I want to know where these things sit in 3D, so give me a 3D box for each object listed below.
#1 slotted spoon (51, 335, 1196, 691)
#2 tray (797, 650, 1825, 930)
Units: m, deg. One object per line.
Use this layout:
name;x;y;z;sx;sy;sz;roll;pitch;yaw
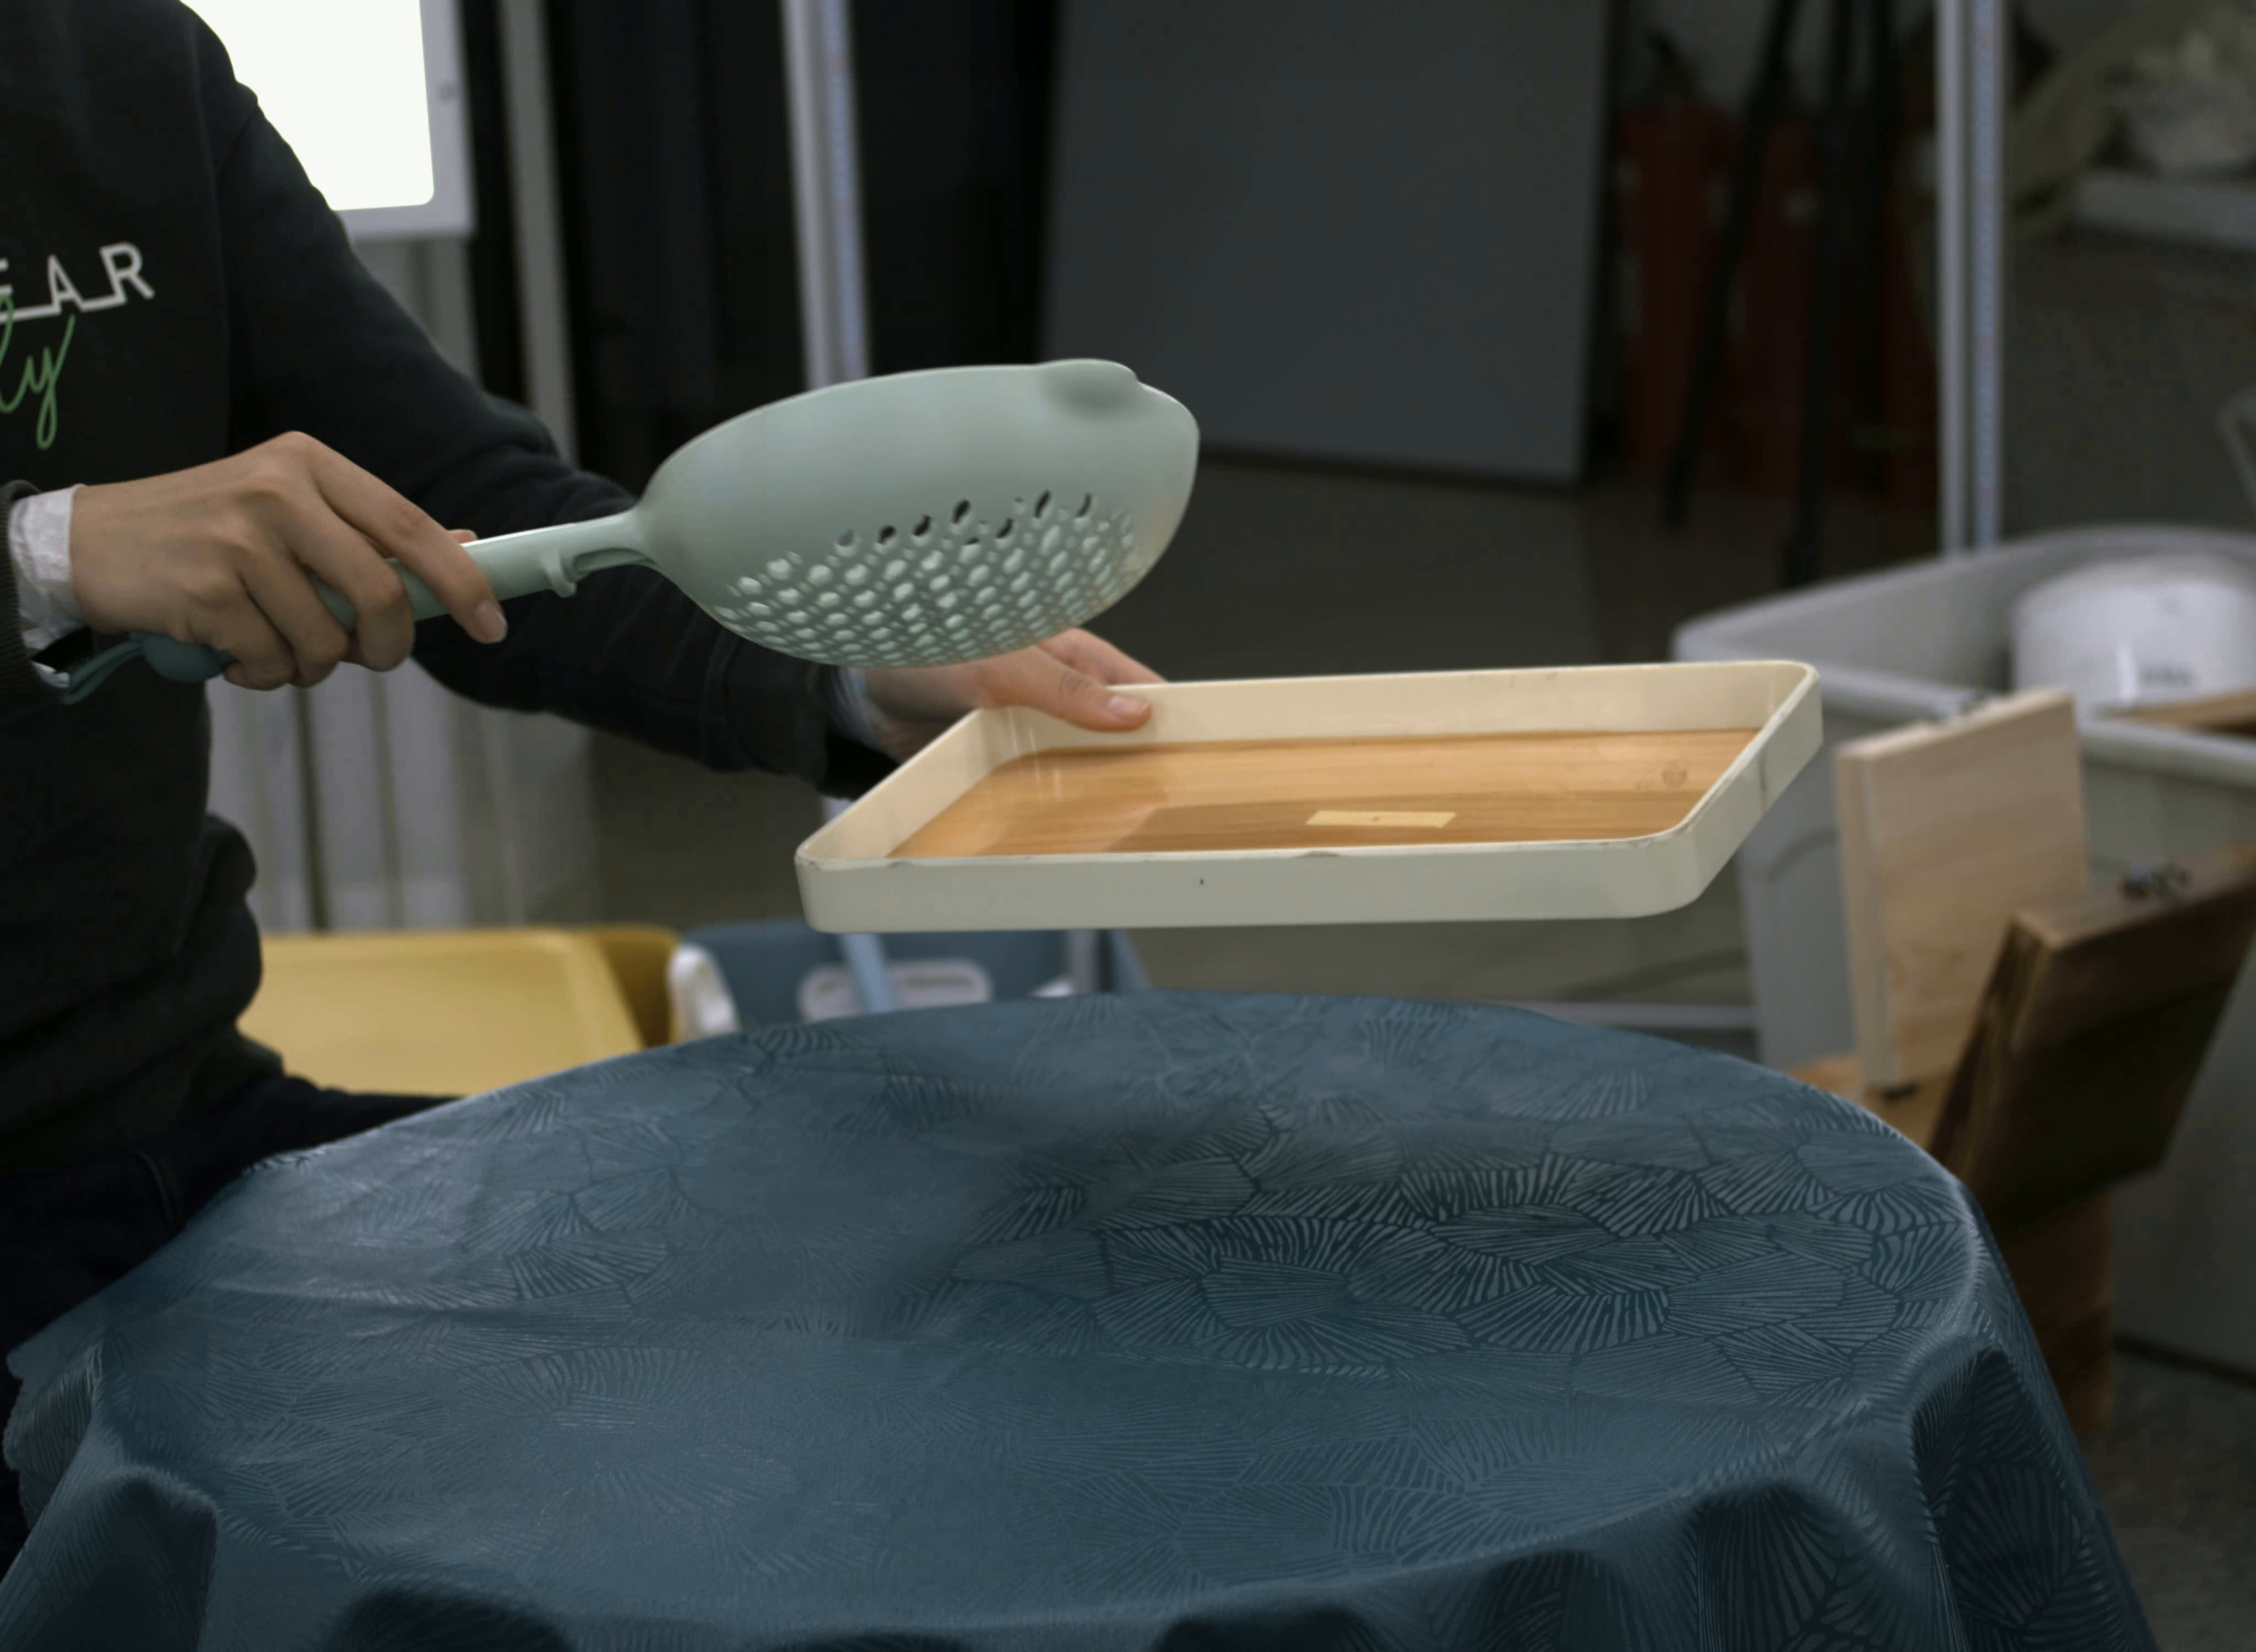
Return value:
slotted spoon;-0.156;-0.085;1.650;0.356;0.076;0.168;-2;-17;10
tray;0.061;-0.011;1.729;0.300;0.027;0.189;-2;17;24
